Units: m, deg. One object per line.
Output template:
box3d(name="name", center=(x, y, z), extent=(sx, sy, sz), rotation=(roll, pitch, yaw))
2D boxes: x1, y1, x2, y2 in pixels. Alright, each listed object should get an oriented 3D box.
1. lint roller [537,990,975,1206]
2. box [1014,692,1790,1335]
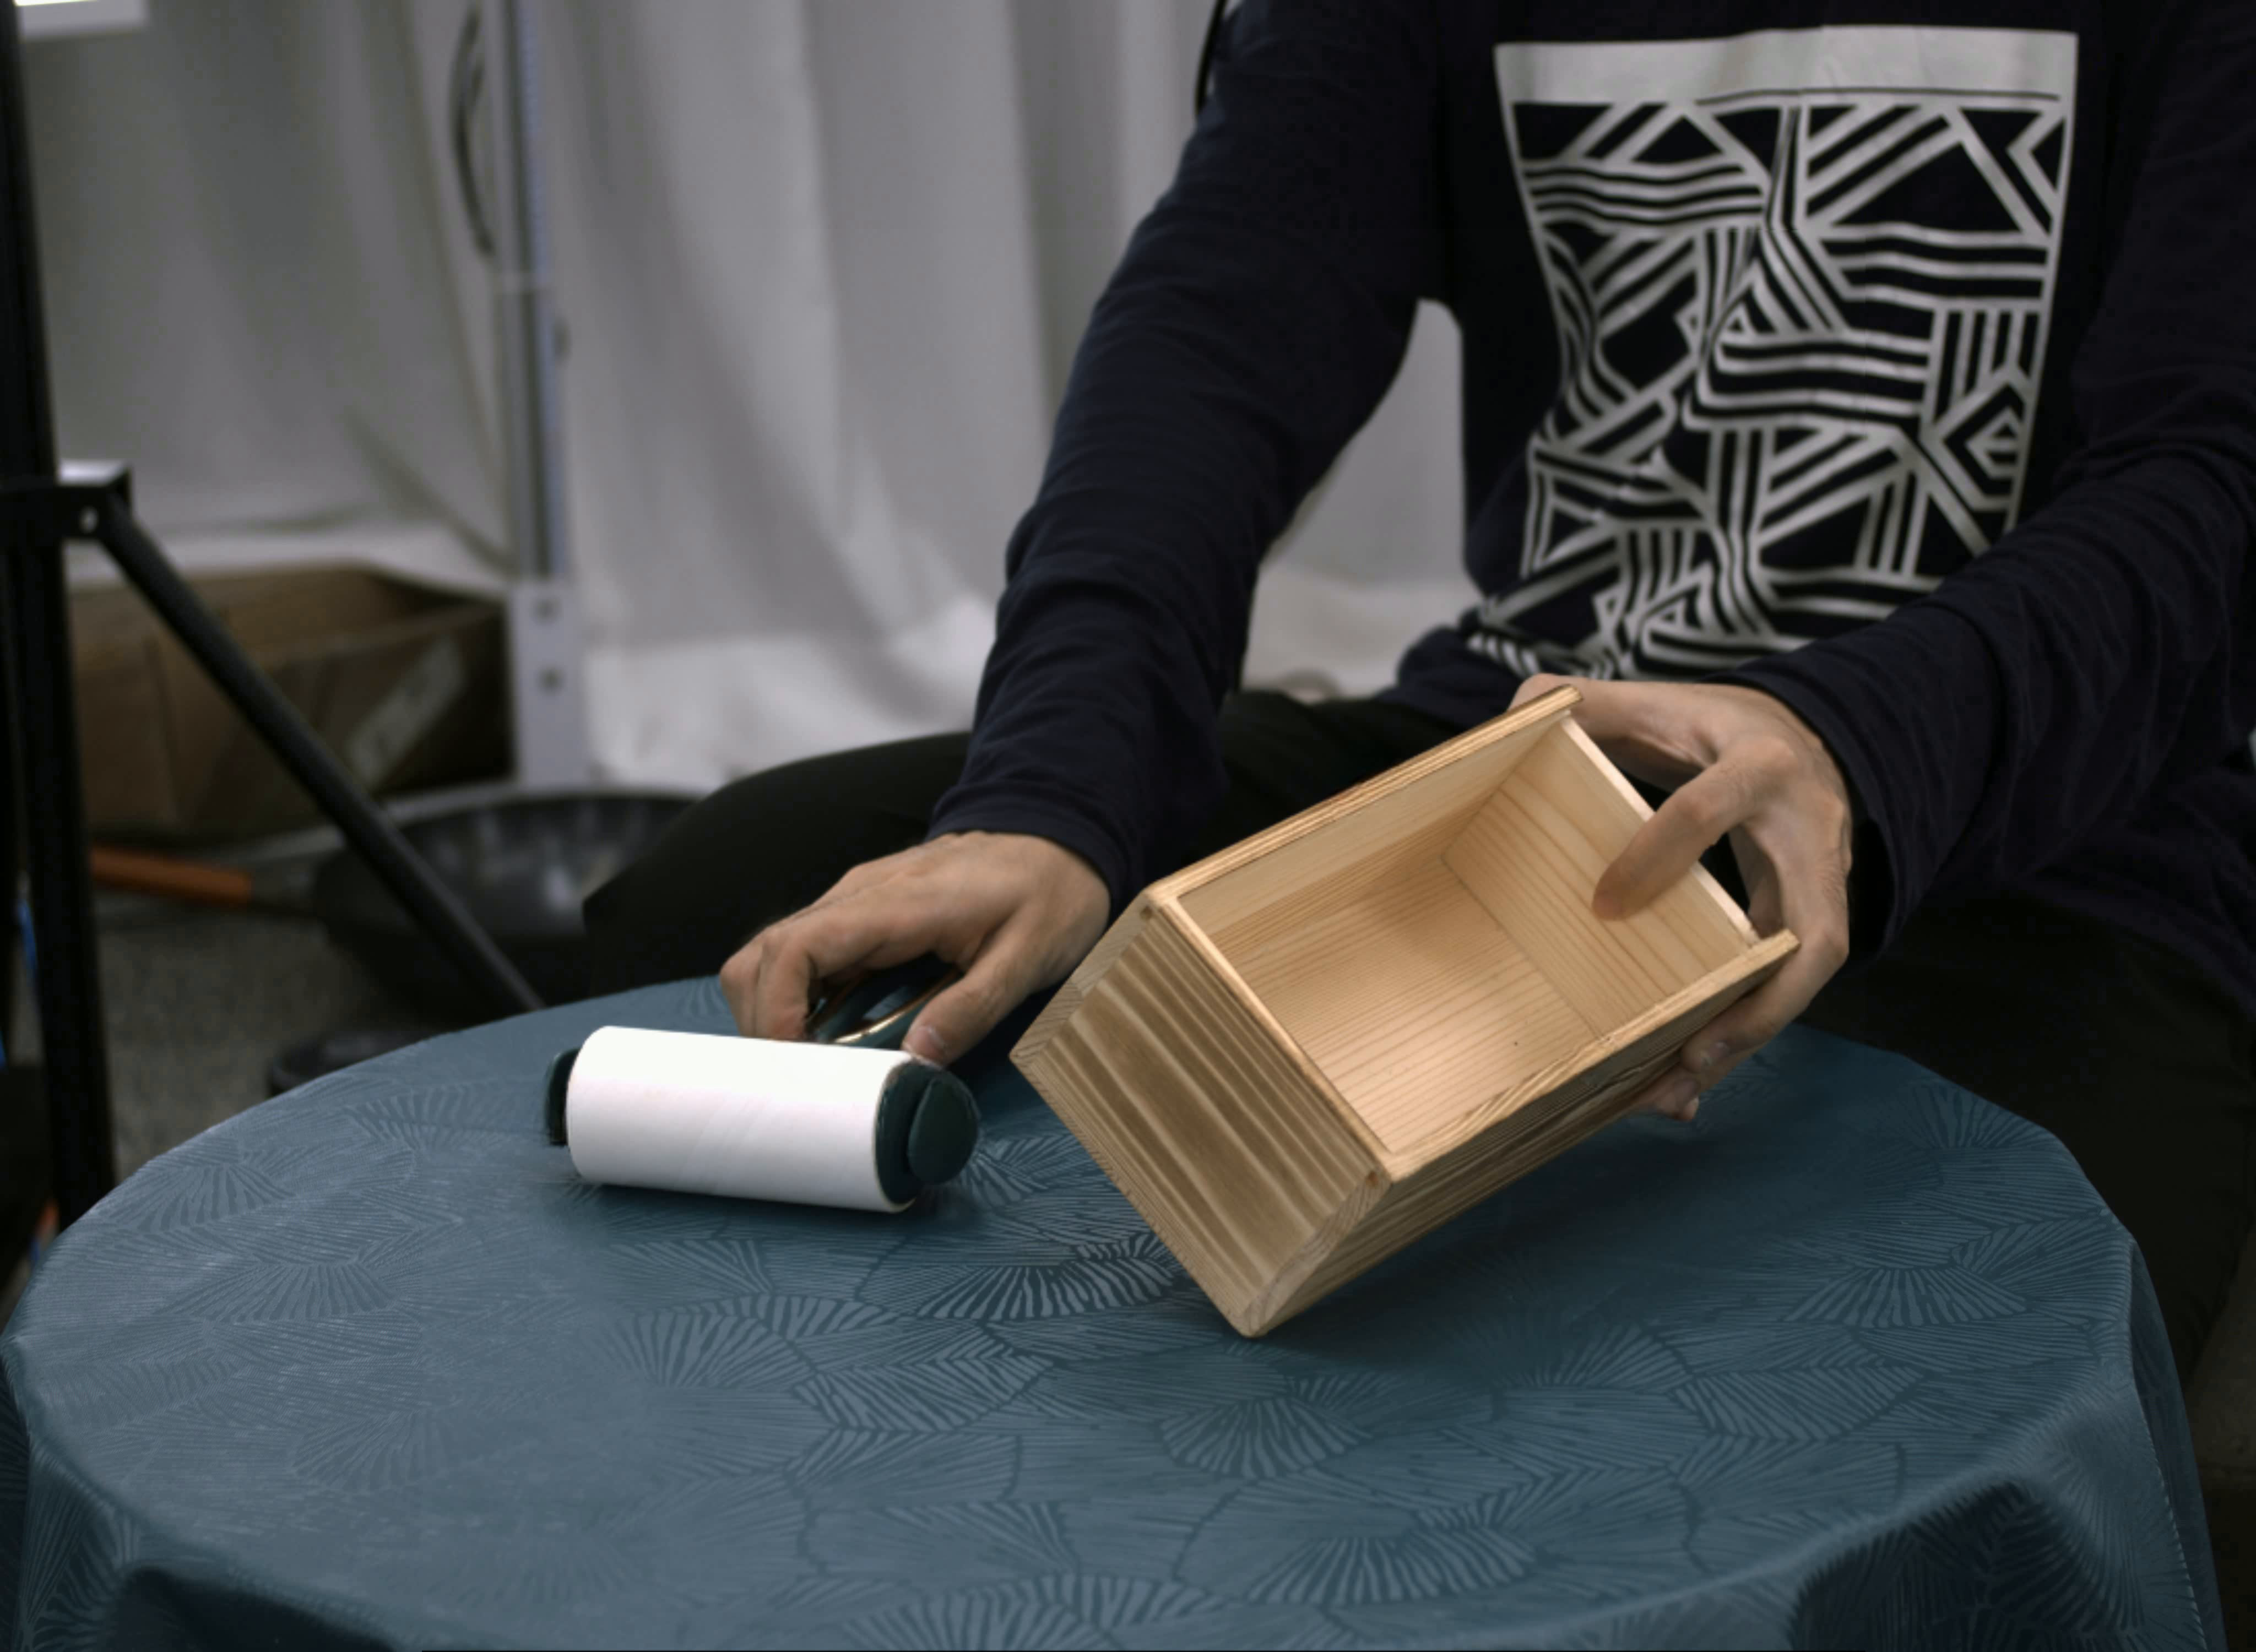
box3d(name="lint roller", center=(-0.089, 0.064, 1.626), extent=(0.136, 0.048, 0.178), rotation=(3, 20, 22))
box3d(name="box", center=(0.080, 0.050, 1.503), extent=(0.109, 0.081, 0.207), rotation=(47, 38, 15))
